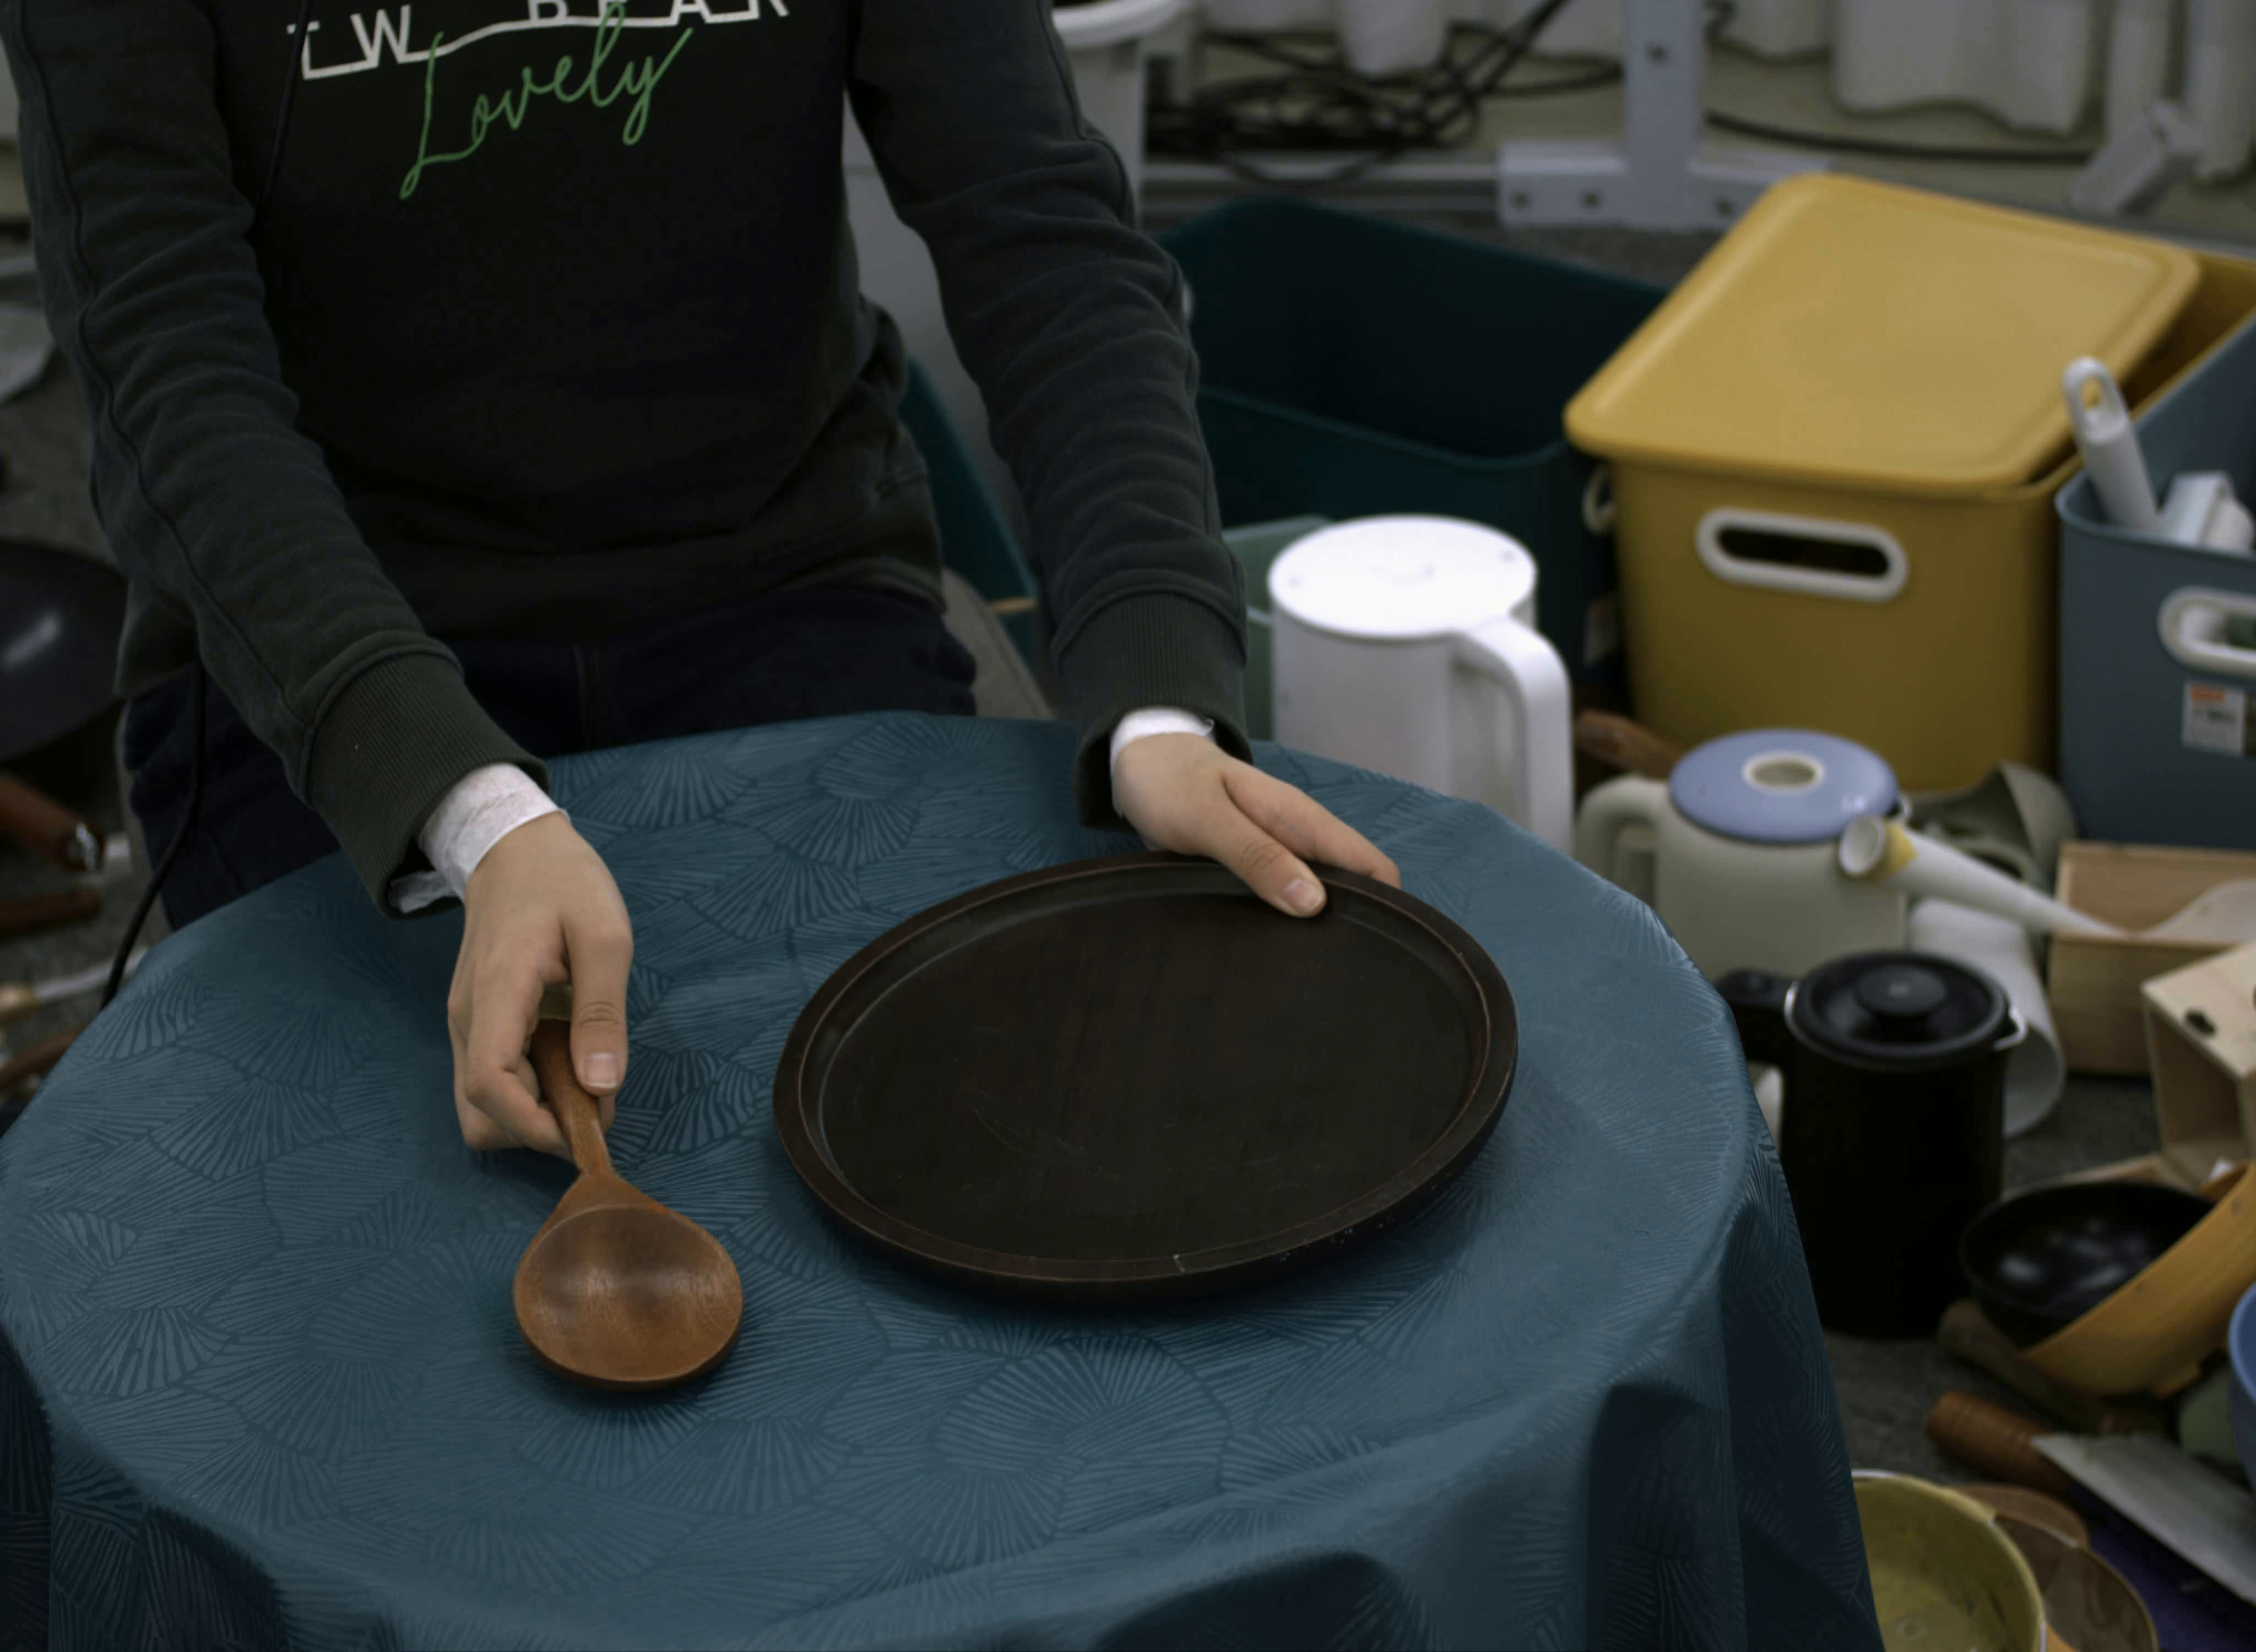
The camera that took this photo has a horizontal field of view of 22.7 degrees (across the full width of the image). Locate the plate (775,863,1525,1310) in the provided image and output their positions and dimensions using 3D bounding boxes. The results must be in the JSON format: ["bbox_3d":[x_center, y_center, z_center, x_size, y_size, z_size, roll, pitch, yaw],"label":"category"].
[{"bbox_3d":[0.007,0.085,1.887,0.253,0.028,0.259,-3,32,2],"label":"plate"}]

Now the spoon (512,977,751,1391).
[{"bbox_3d":[-0.174,0.118,1.842,0.075,0.017,0.219,-7,36,-12],"label":"spoon"}]
